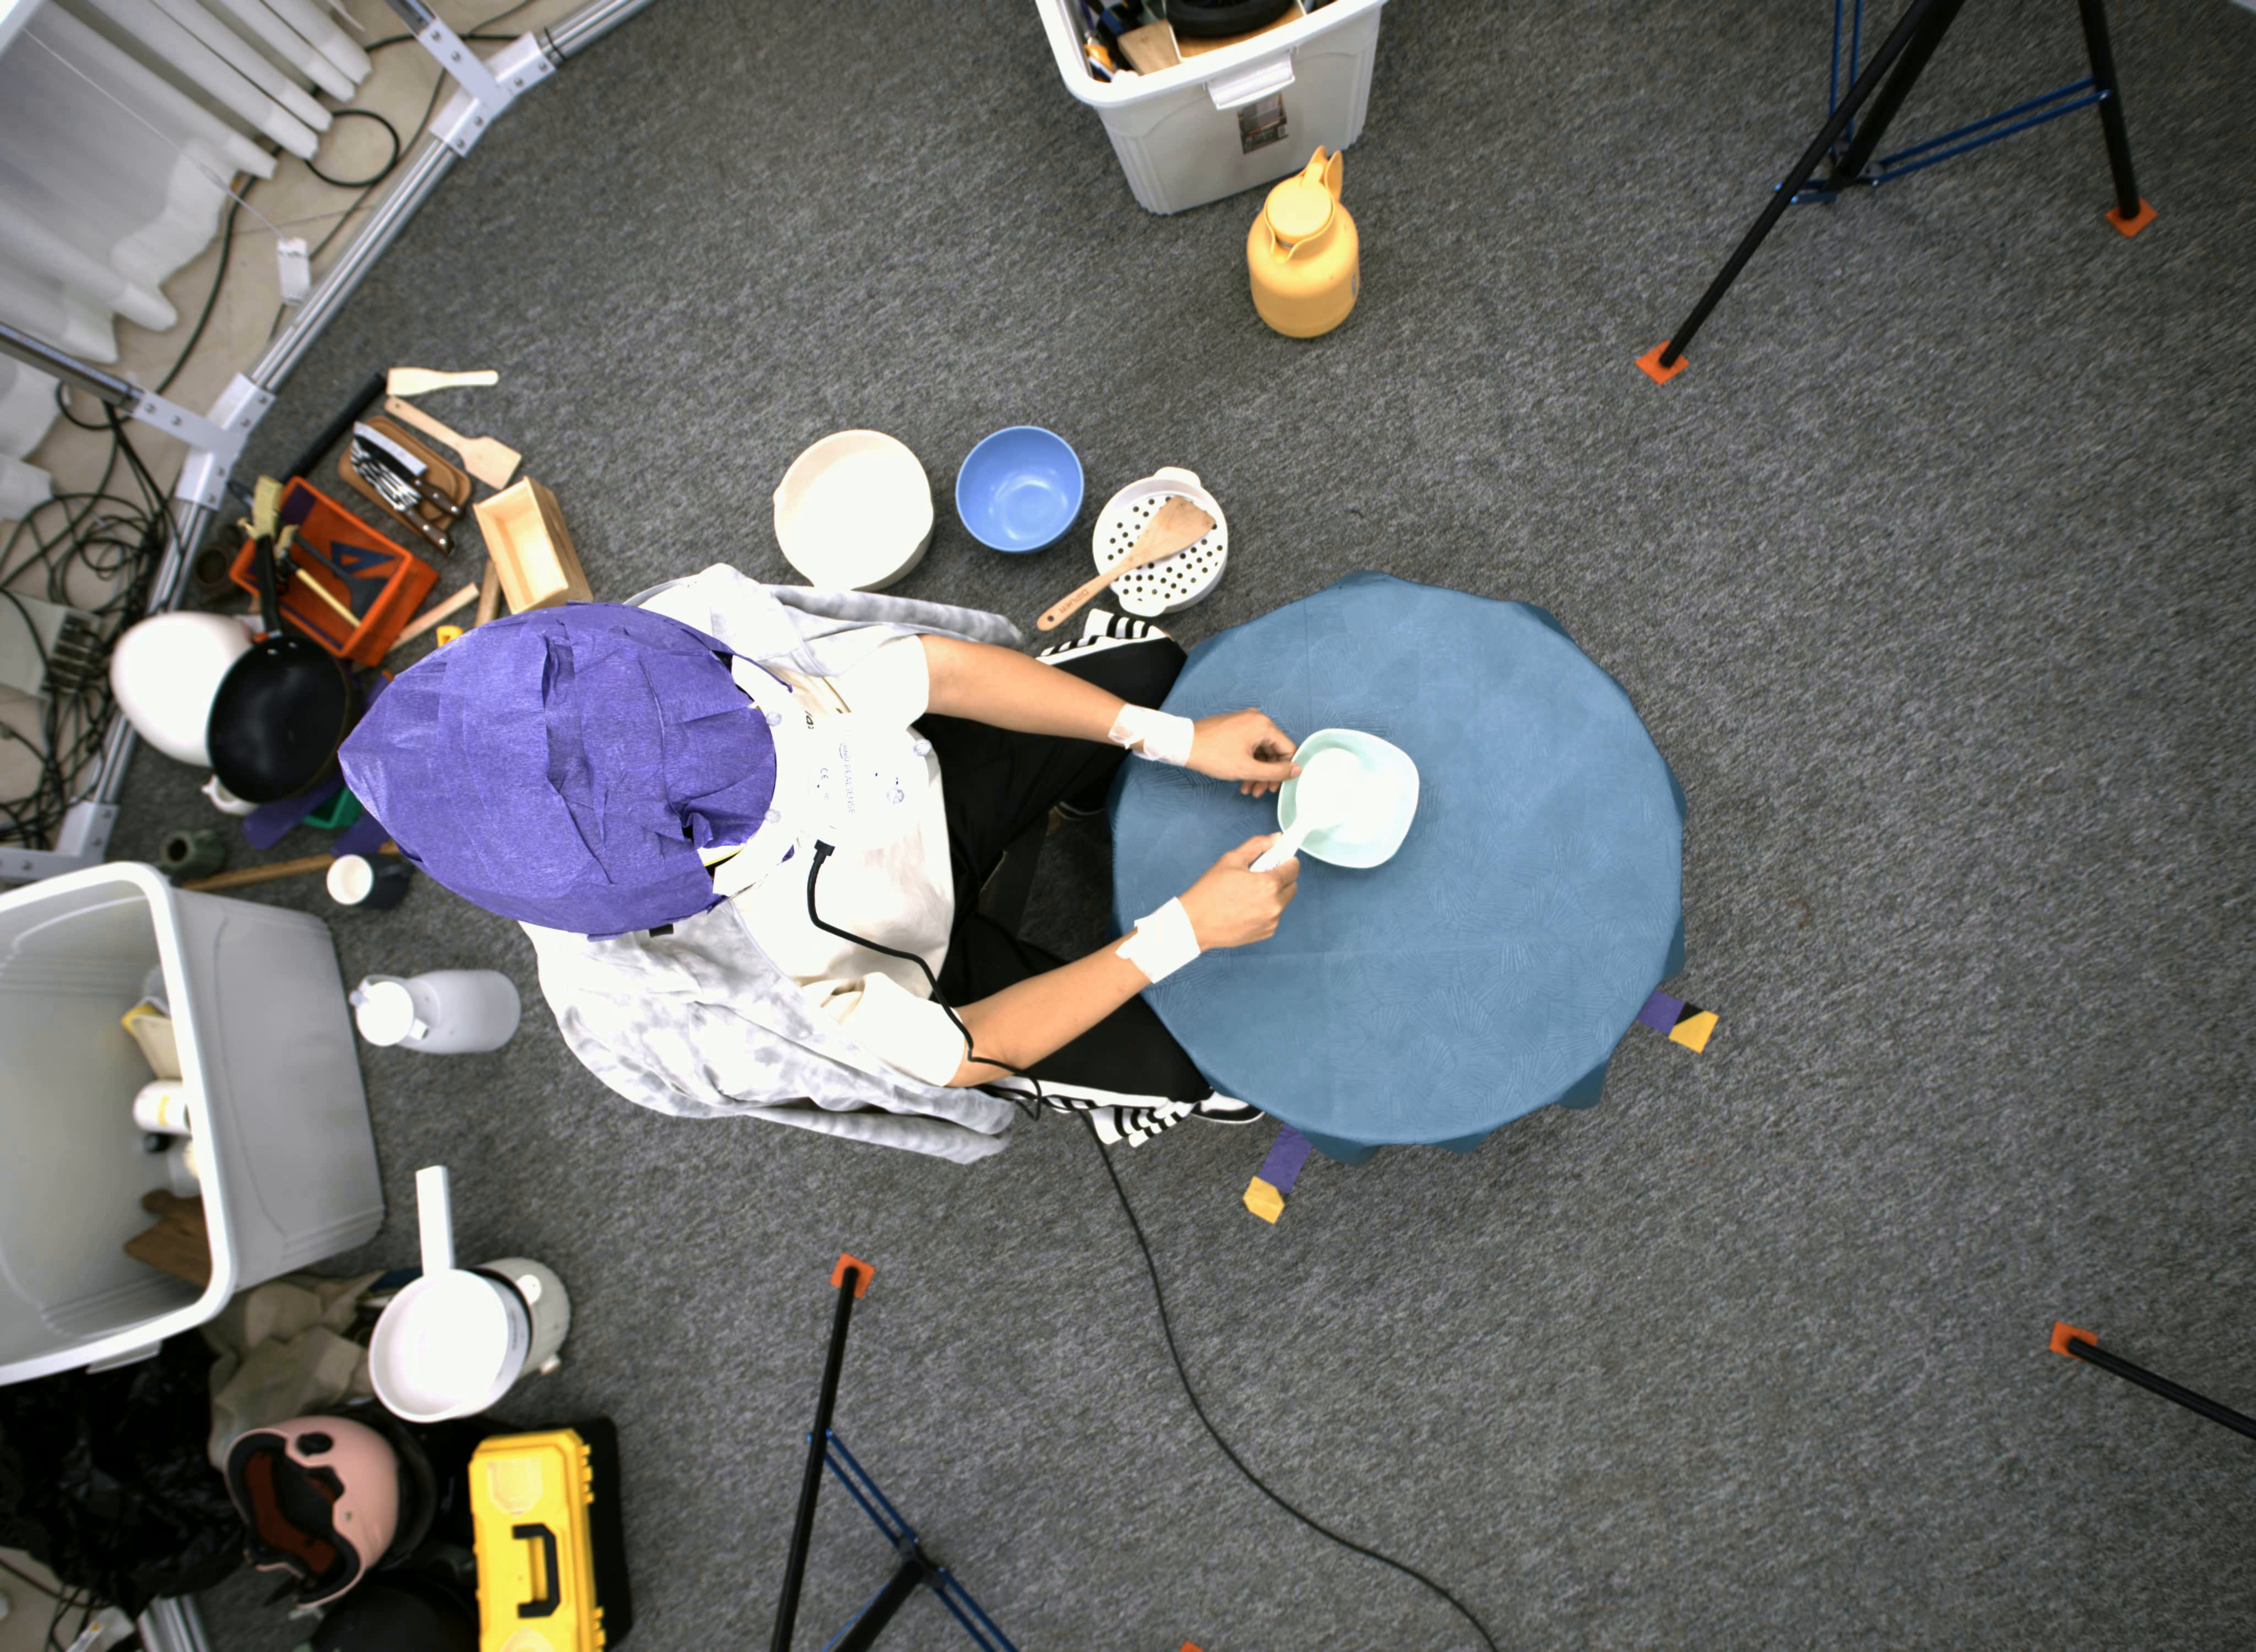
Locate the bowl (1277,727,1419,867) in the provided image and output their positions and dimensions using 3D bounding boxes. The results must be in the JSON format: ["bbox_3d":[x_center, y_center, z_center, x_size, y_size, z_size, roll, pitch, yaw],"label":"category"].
[{"bbox_3d":[0.229,-0.029,1.442,0.152,0.058,0.151,0,88,8],"label":"bowl"}]

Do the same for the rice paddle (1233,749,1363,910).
[{"bbox_3d":[0.173,-0.002,1.392,0.069,0.030,0.202,40,69,-3],"label":"rice paddle"}]
